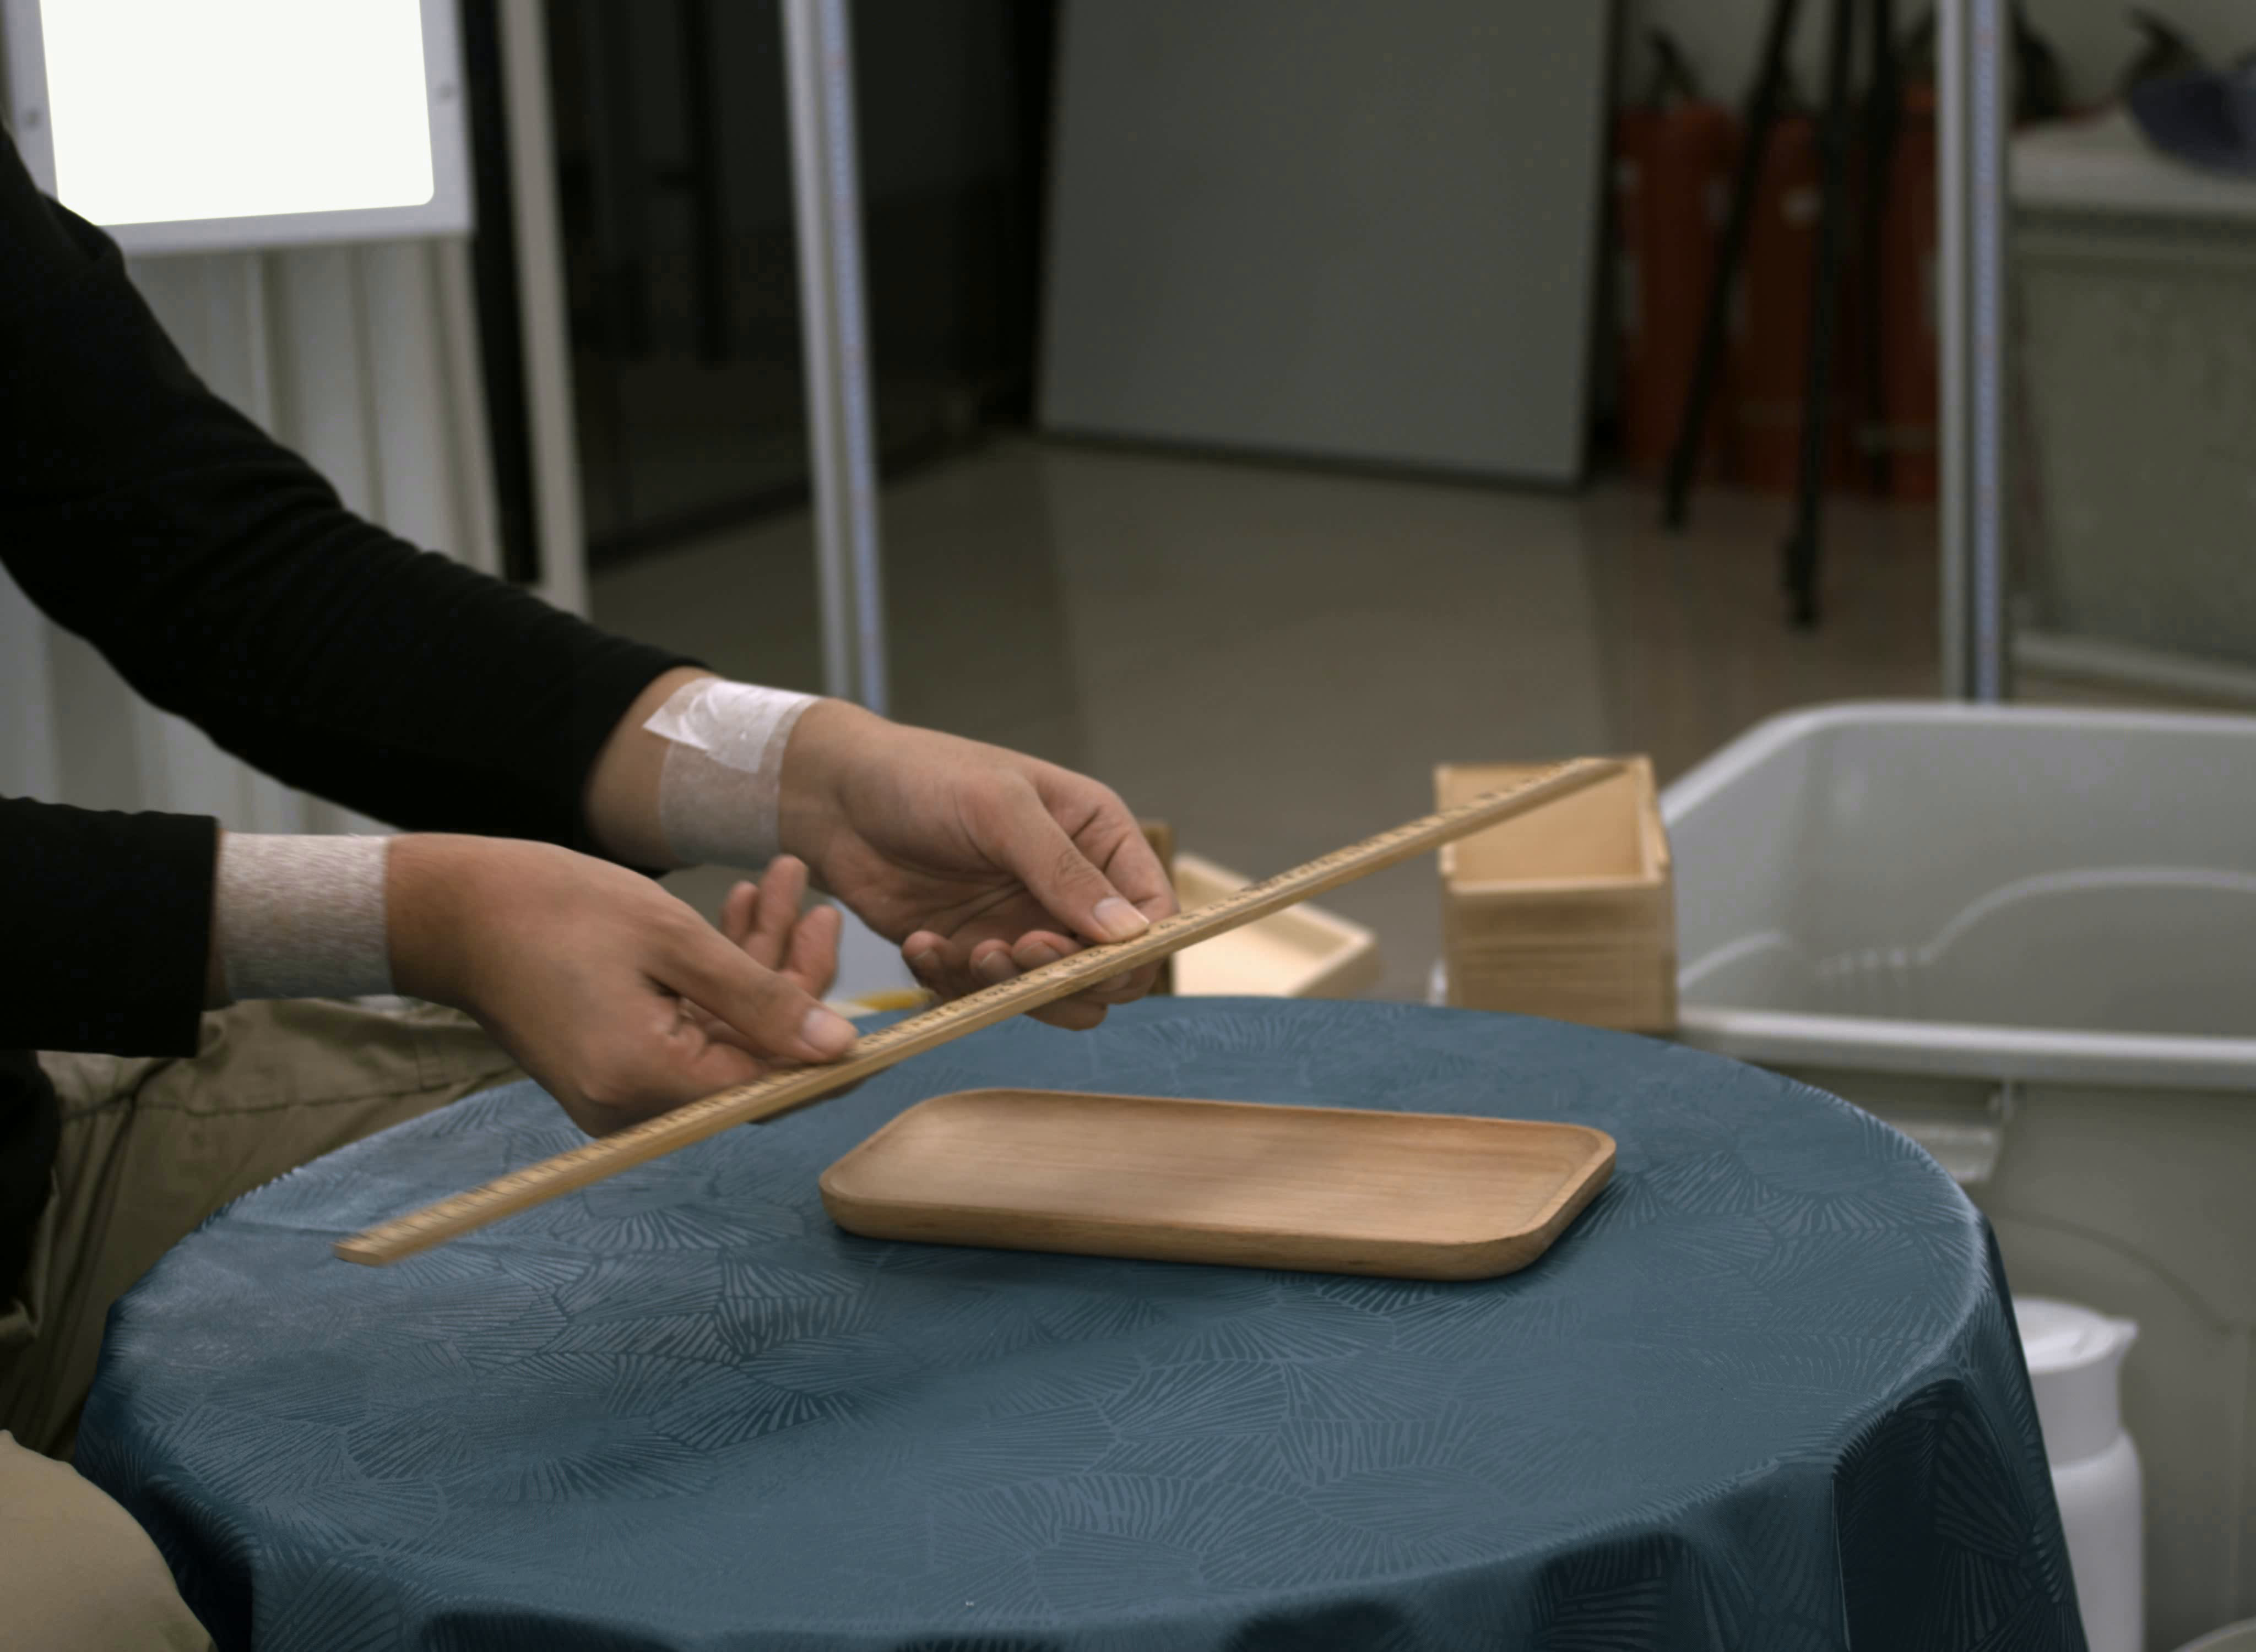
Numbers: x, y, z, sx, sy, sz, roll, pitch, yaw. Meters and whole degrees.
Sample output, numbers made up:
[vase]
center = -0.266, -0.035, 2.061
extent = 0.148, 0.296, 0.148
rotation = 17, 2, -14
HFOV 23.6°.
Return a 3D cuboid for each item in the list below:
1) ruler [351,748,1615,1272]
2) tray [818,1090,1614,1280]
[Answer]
[ruler]
center = -0.029, 0.050, 1.672
extent = 0.490, 0.006, 0.027
rotation = -22, 12, -35
[tray]
center = 0.028, 0.116, 1.750
extent = 0.251, 0.023, 0.129
rotation = 1, 12, 25
